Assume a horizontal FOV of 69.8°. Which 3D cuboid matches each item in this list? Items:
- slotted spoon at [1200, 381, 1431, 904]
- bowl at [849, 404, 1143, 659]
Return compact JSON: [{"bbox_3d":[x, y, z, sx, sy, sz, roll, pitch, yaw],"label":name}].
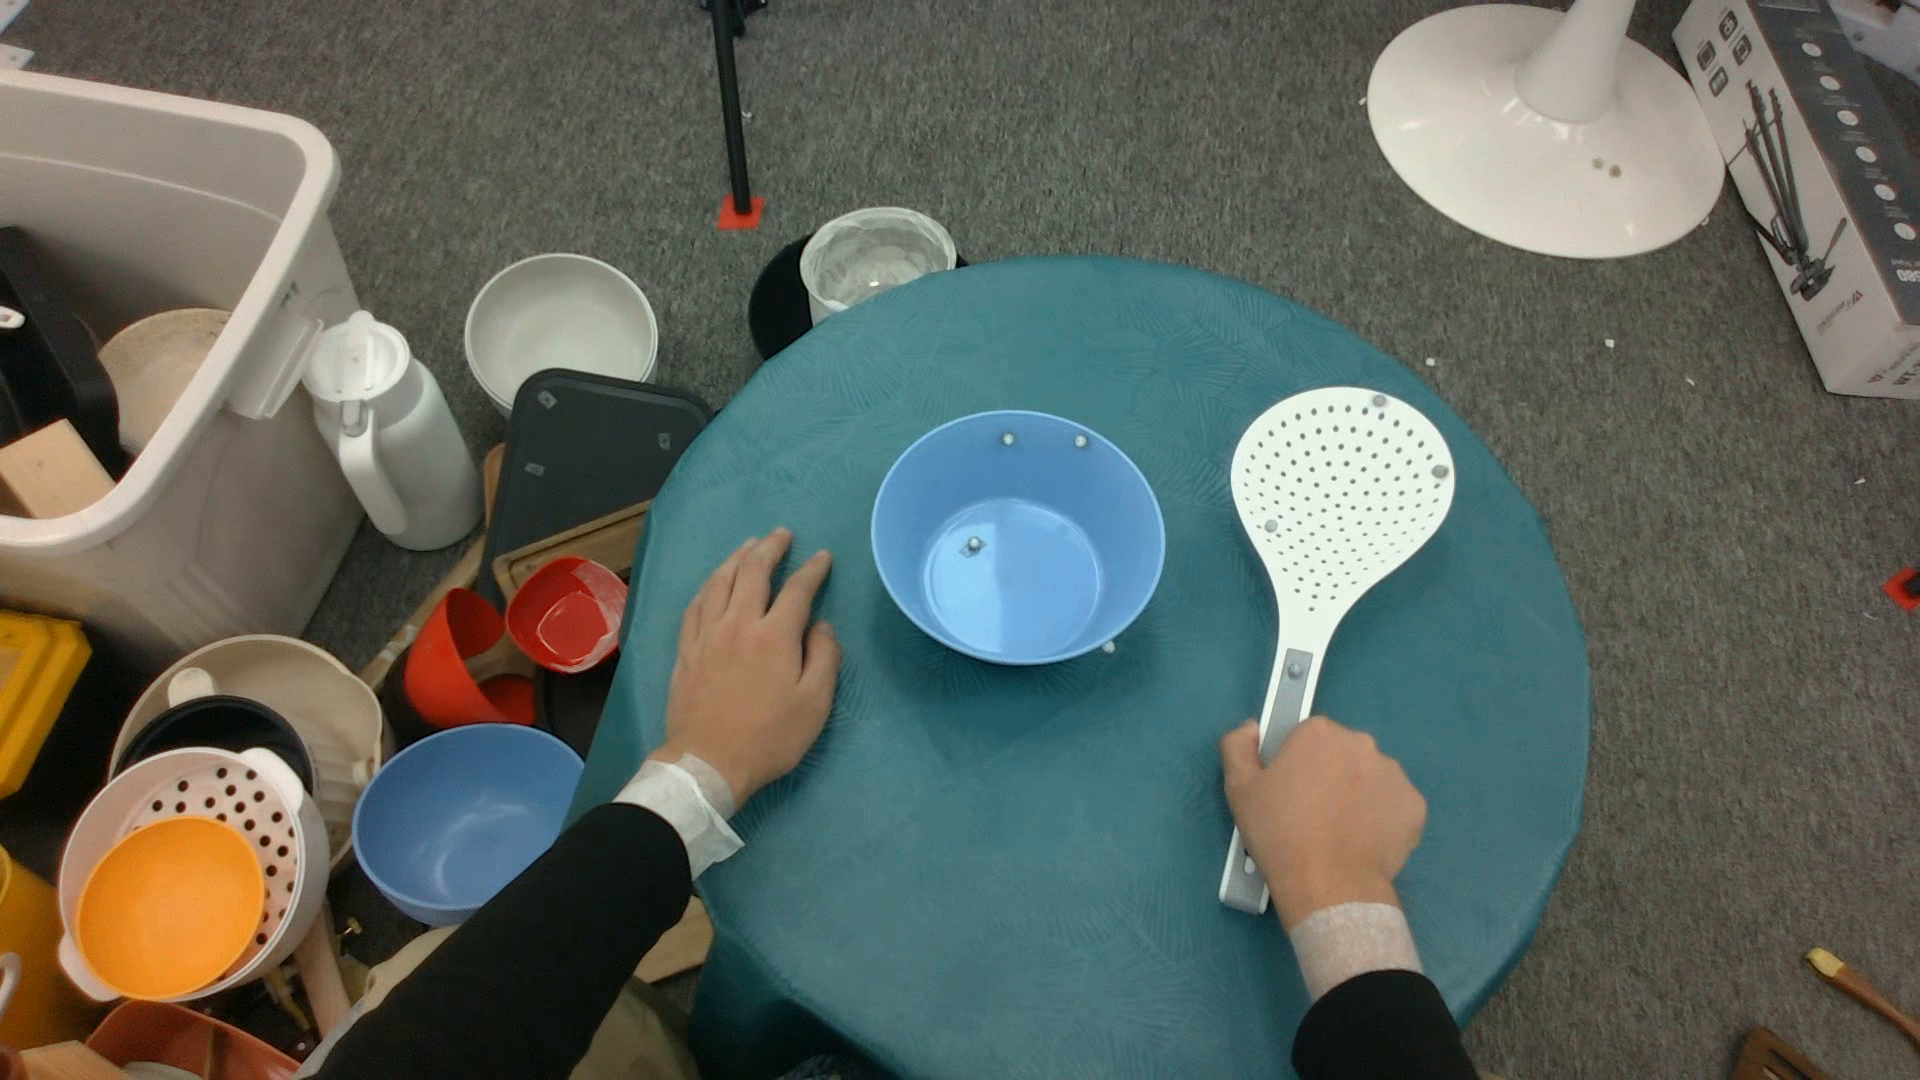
[{"bbox_3d":[0.200,0.052,0.844,0.136,0.045,0.351,12,60,16],"label":"slotted spoon"},{"bbox_3d":[0.020,0.006,0.845,0.176,0.070,0.177,1,60,-2],"label":"bowl"}]
